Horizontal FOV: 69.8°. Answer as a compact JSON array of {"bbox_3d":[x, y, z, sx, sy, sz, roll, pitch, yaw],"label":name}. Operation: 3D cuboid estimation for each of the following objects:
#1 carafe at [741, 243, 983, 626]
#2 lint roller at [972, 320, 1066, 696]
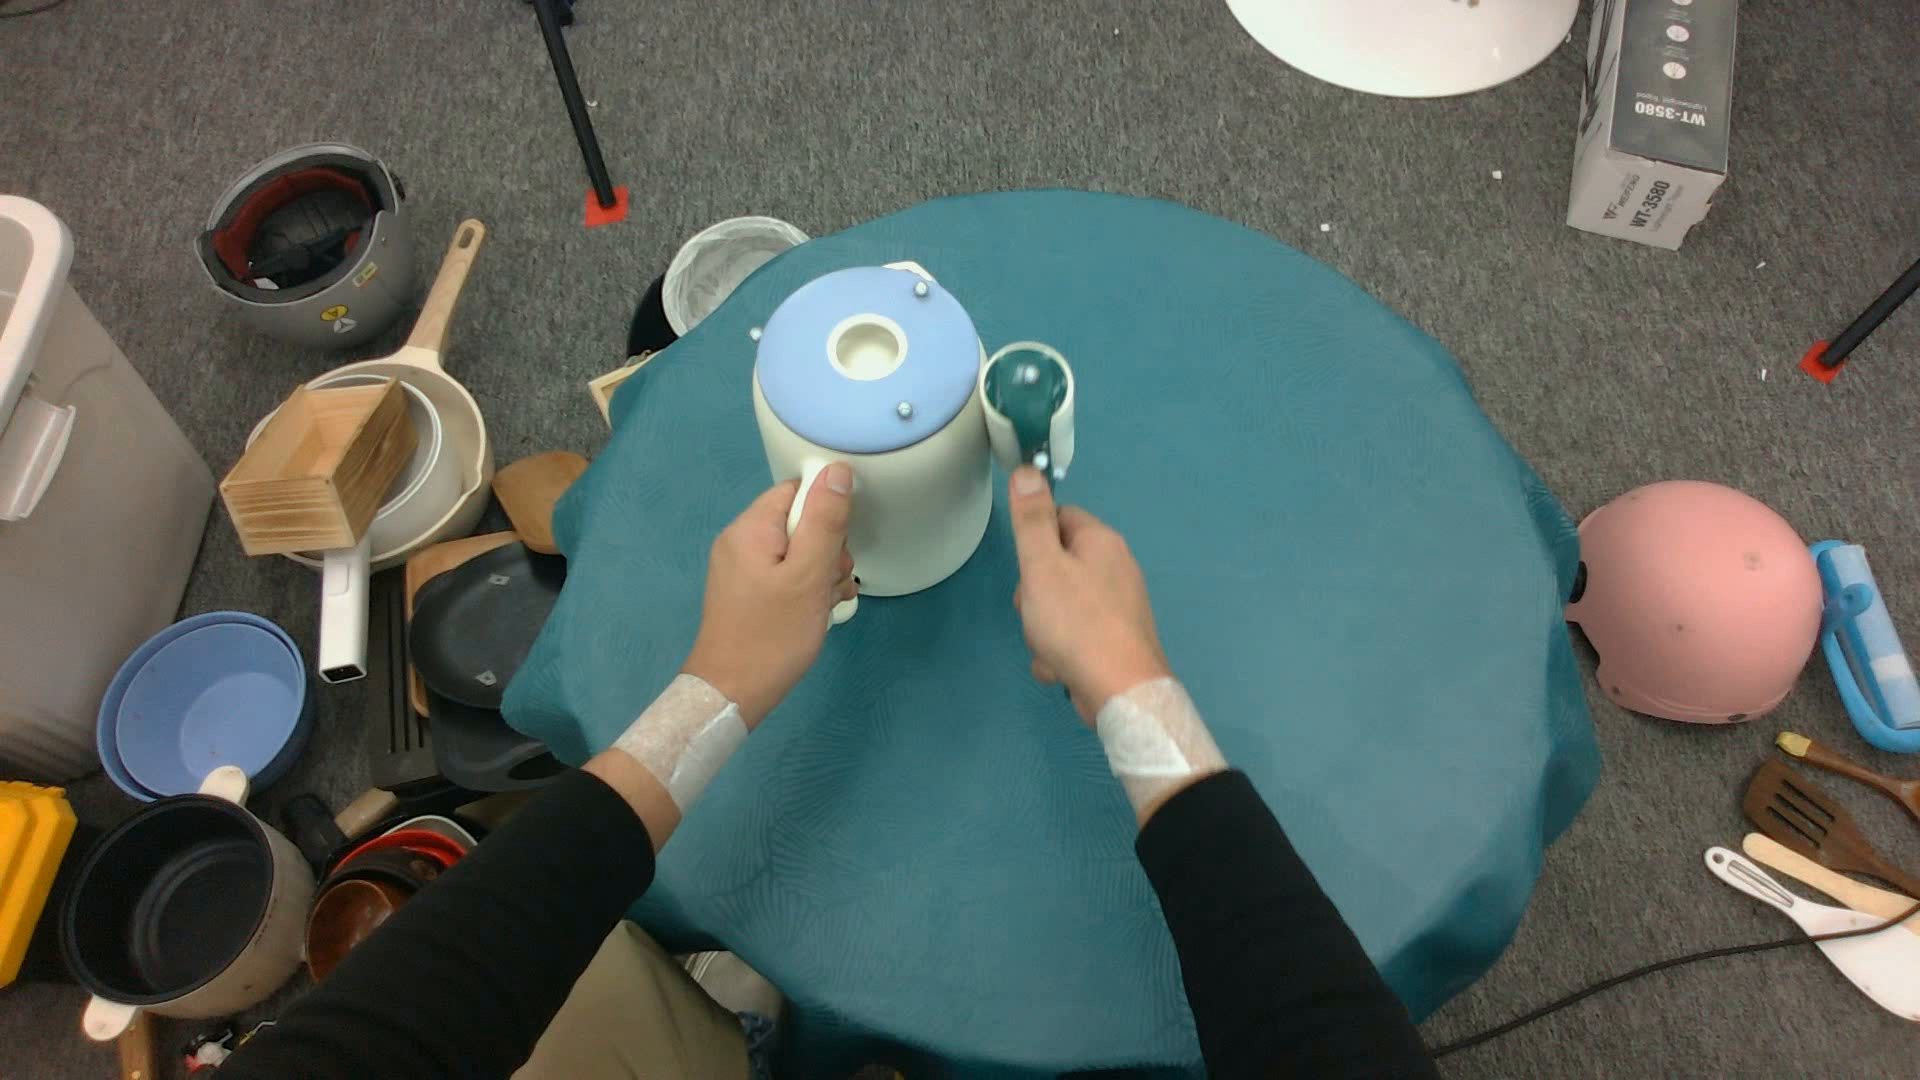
[{"bbox_3d":[-0.060,-0.047,0.784,0.132,0.182,0.192,15,66,9],"label":"carafe"},{"bbox_3d":[0.047,-0.011,0.721,0.048,0.134,0.180,-13,75,1],"label":"lint roller"}]
